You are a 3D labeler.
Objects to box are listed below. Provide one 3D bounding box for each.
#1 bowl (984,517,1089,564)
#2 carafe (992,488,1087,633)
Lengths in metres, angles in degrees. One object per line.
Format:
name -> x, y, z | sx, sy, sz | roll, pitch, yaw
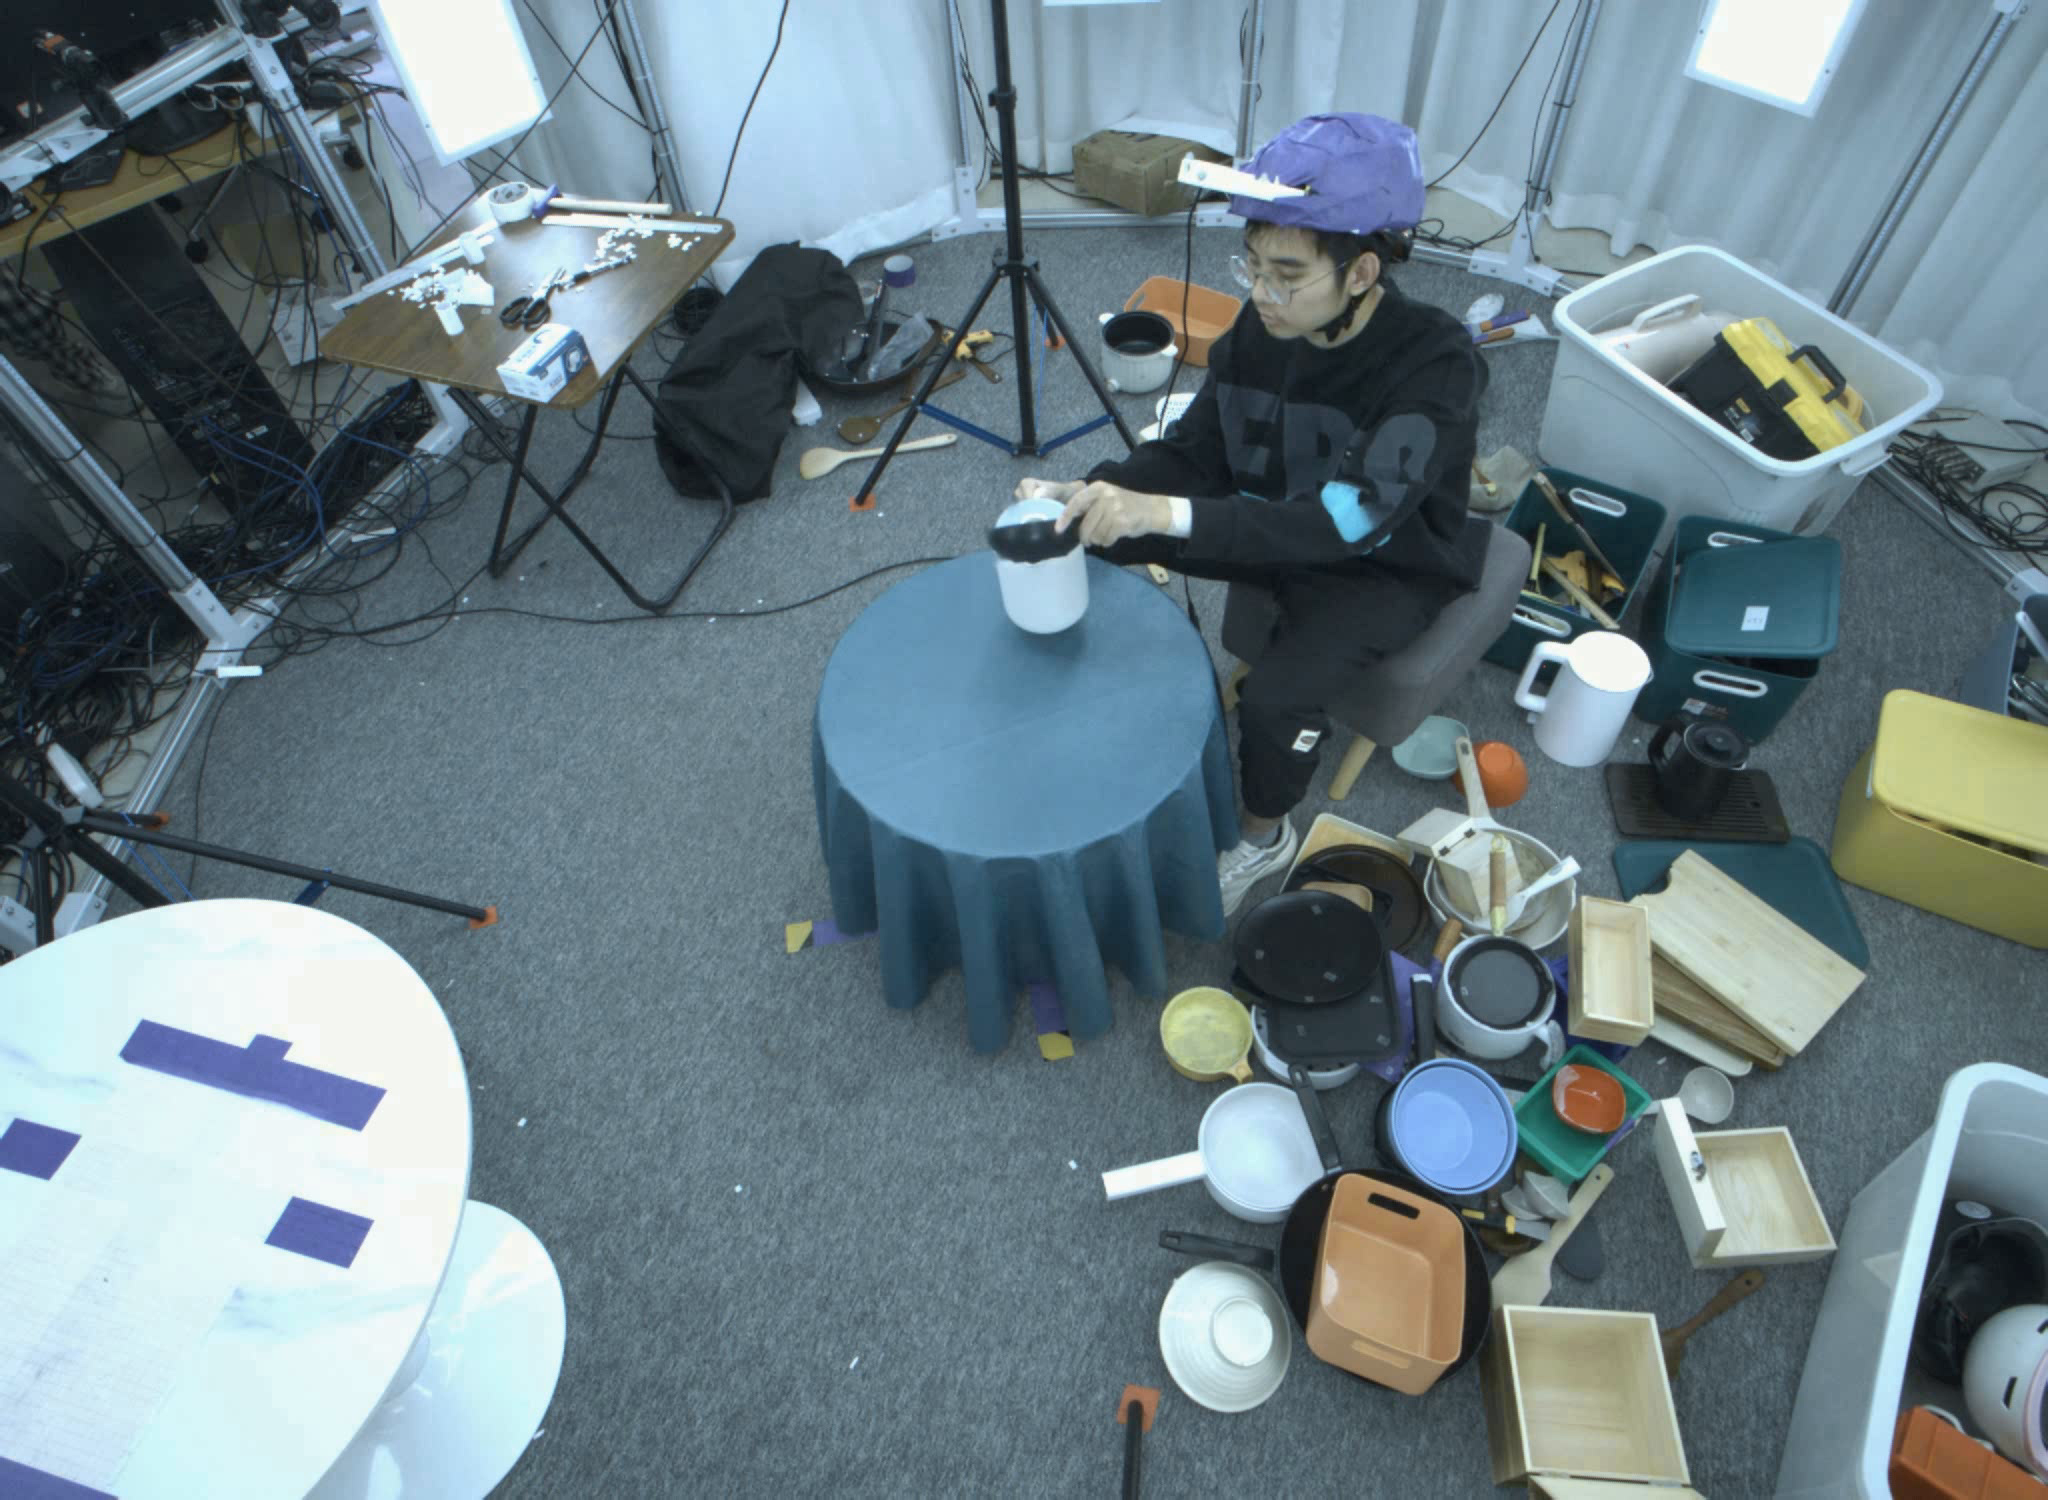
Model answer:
bowl -> 0.018, -0.272, 1.607 | 0.140, 0.139, 0.050 | -7, 98, -2
carafe -> 0.024, -0.293, 1.832 | 0.132, 0.185, 0.189 | -1, 55, 5
